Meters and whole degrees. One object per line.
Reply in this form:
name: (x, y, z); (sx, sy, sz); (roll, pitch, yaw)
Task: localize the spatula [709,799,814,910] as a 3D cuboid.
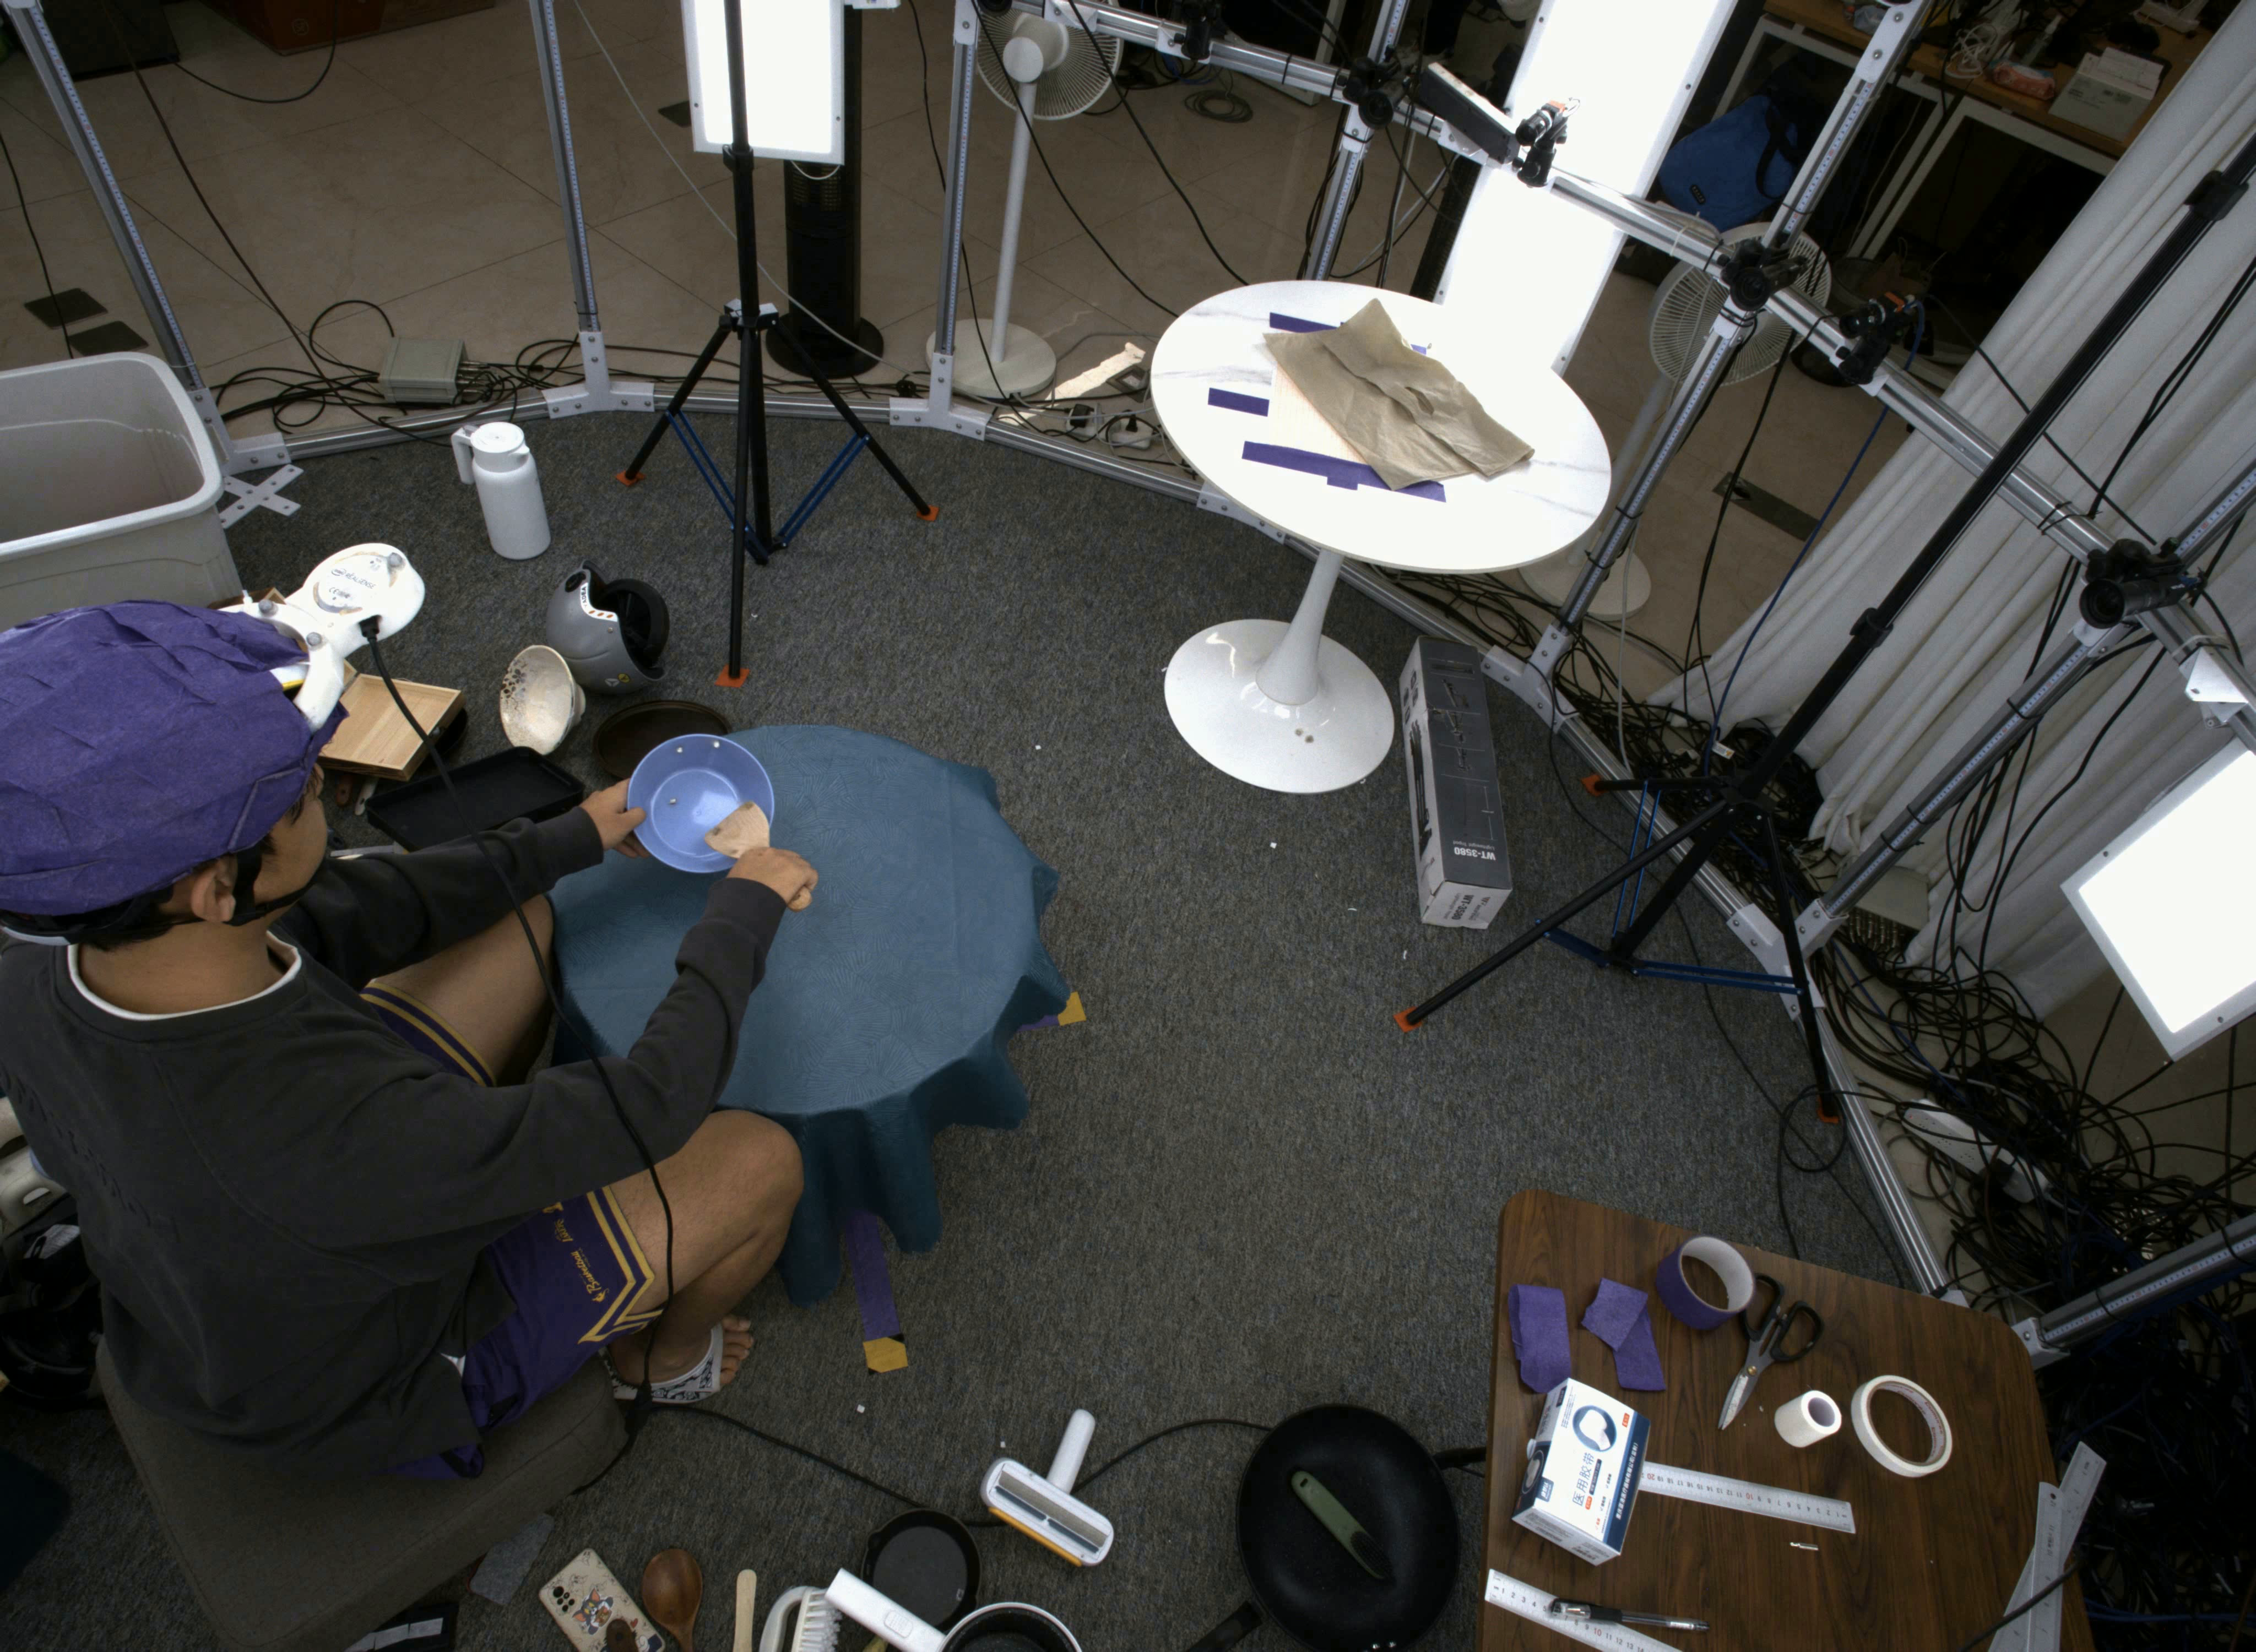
spatula: (-0.418, 0.034, 1.489); (0.080, 0.017, 0.316); (-36, 31, -15)

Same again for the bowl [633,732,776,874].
bowl: (-0.535, -0.024, 1.620); (0.178, 0.069, 0.176); (6, 79, -25)
